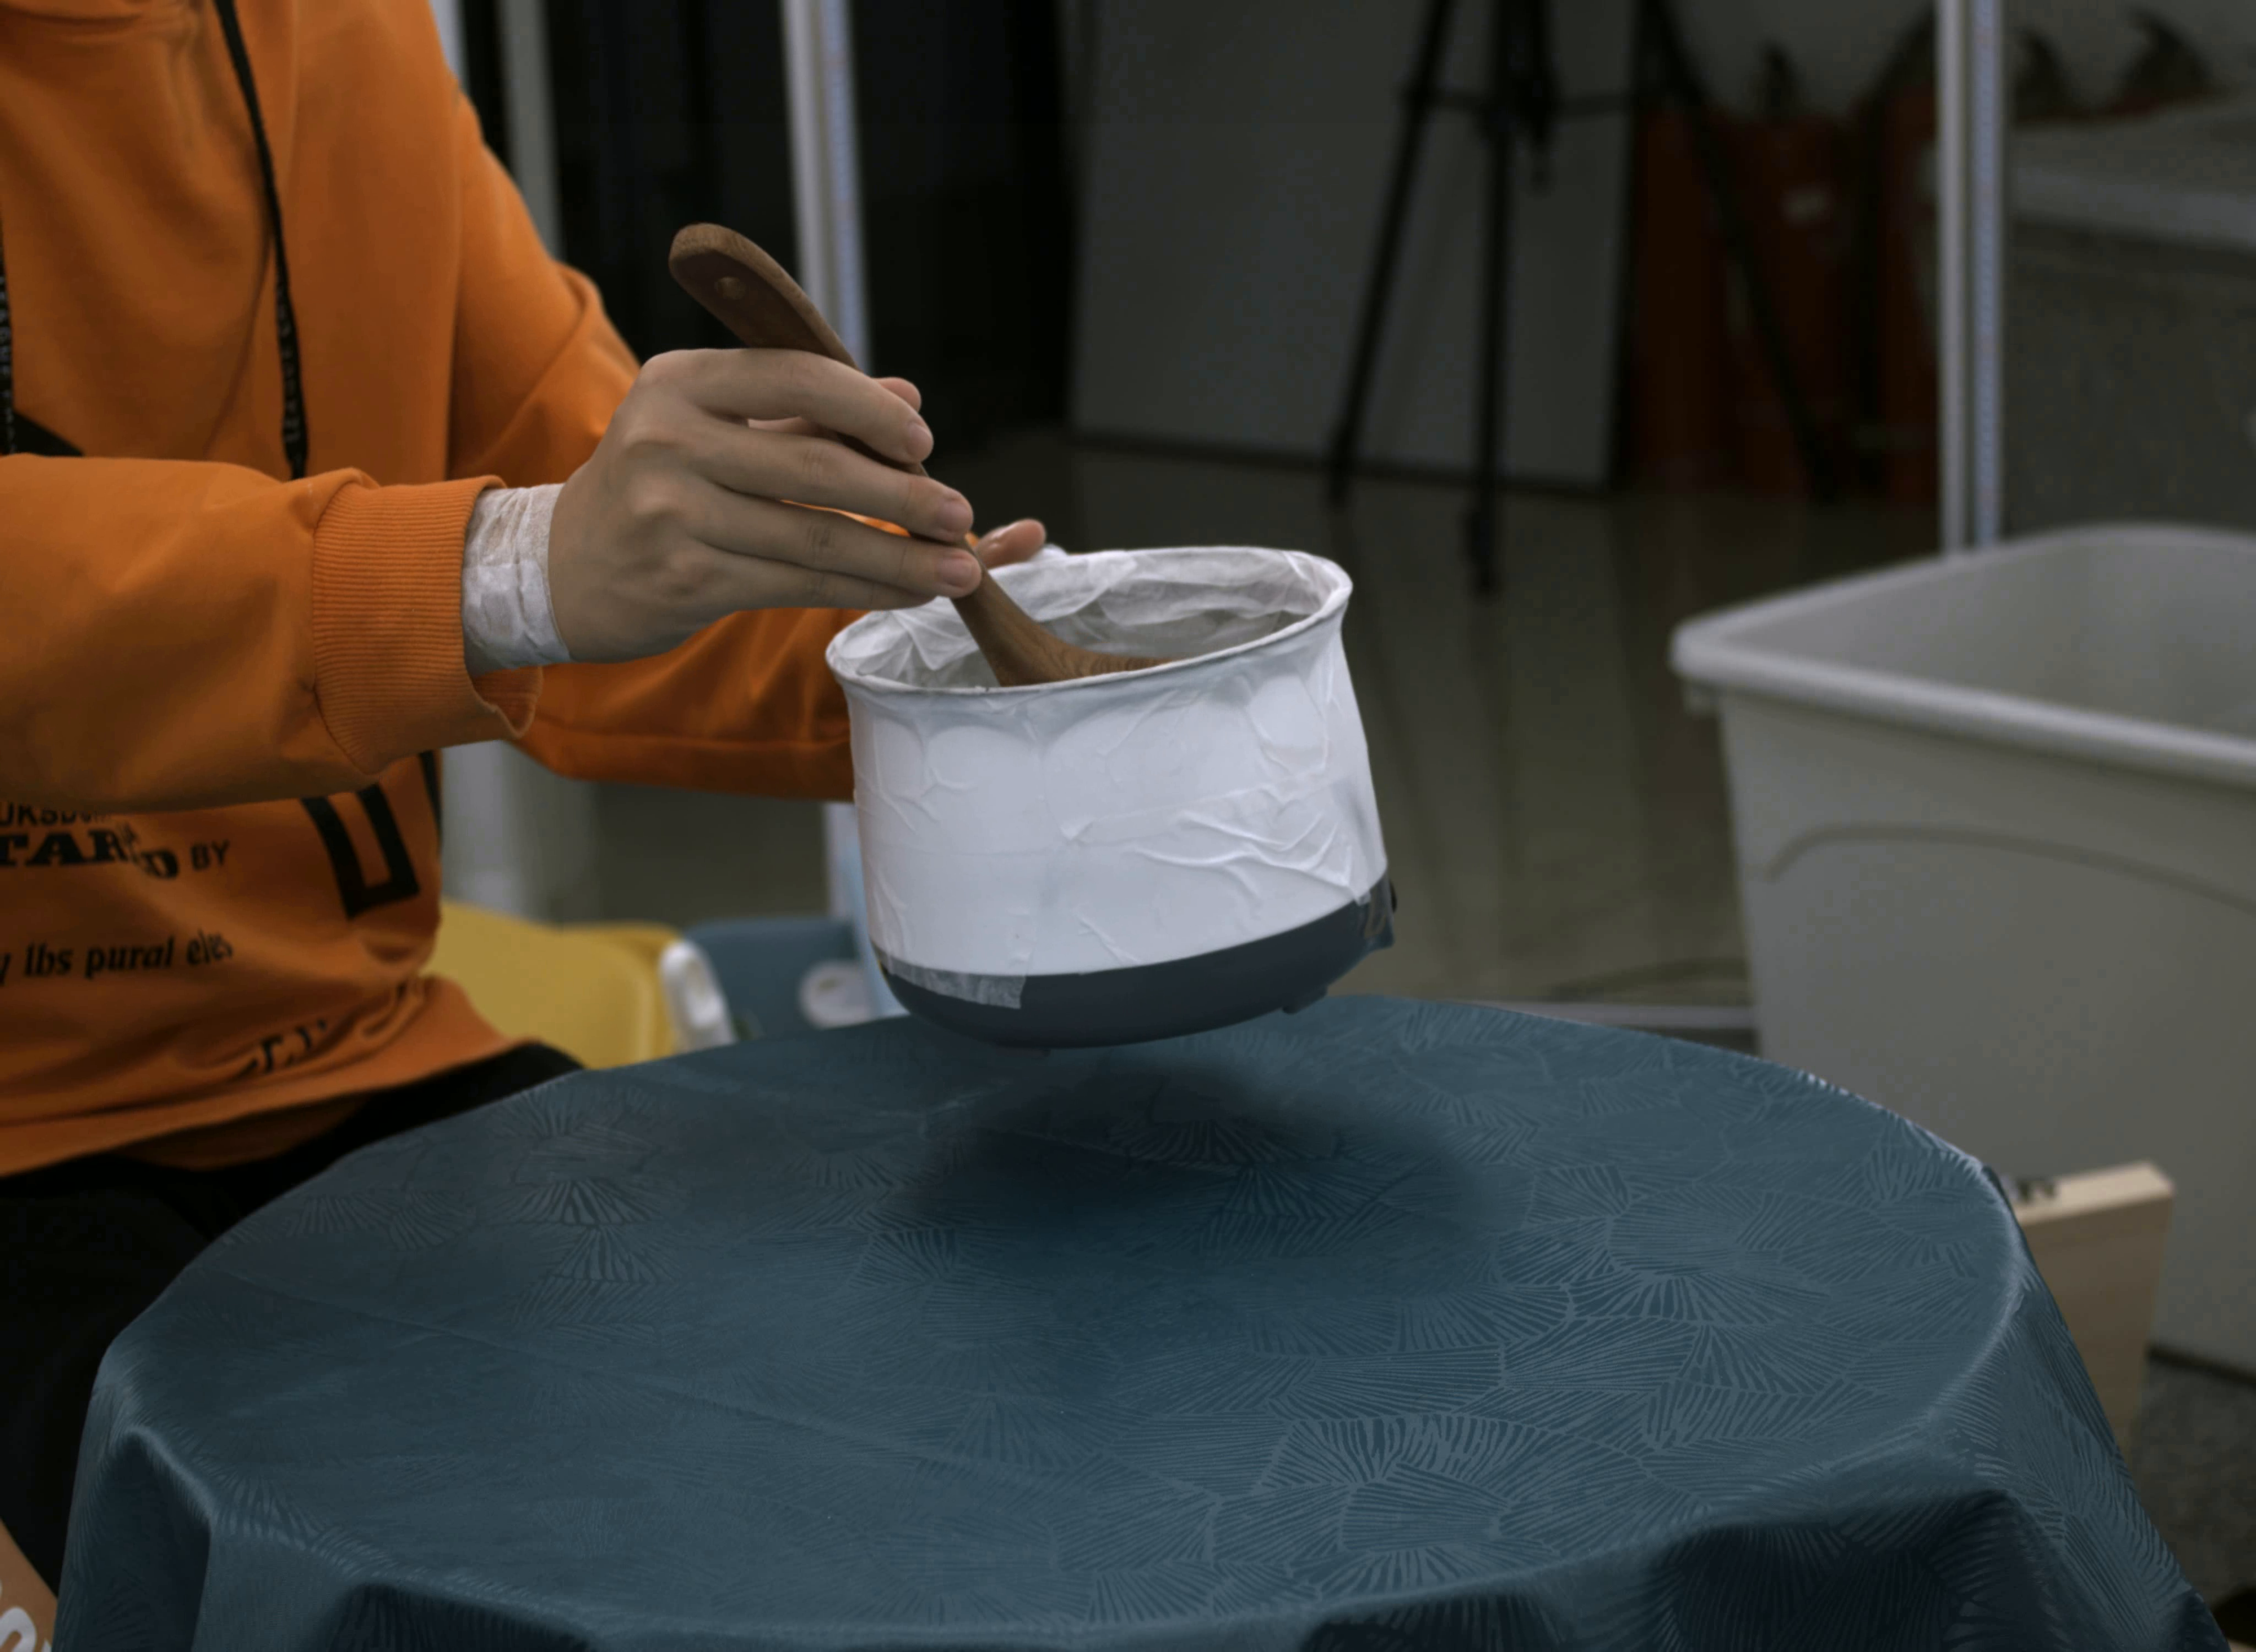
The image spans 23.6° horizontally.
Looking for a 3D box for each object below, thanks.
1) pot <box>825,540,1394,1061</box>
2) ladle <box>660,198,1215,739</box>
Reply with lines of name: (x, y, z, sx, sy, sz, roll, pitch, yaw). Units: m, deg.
pot: (-0.010, -0.016, 1.818, 0.176, 0.138, 0.235, -10, 15, -8)
ladle: (-0.057, -0.107, 1.714, 0.077, 0.259, 0.065, -29, 22, 28)
